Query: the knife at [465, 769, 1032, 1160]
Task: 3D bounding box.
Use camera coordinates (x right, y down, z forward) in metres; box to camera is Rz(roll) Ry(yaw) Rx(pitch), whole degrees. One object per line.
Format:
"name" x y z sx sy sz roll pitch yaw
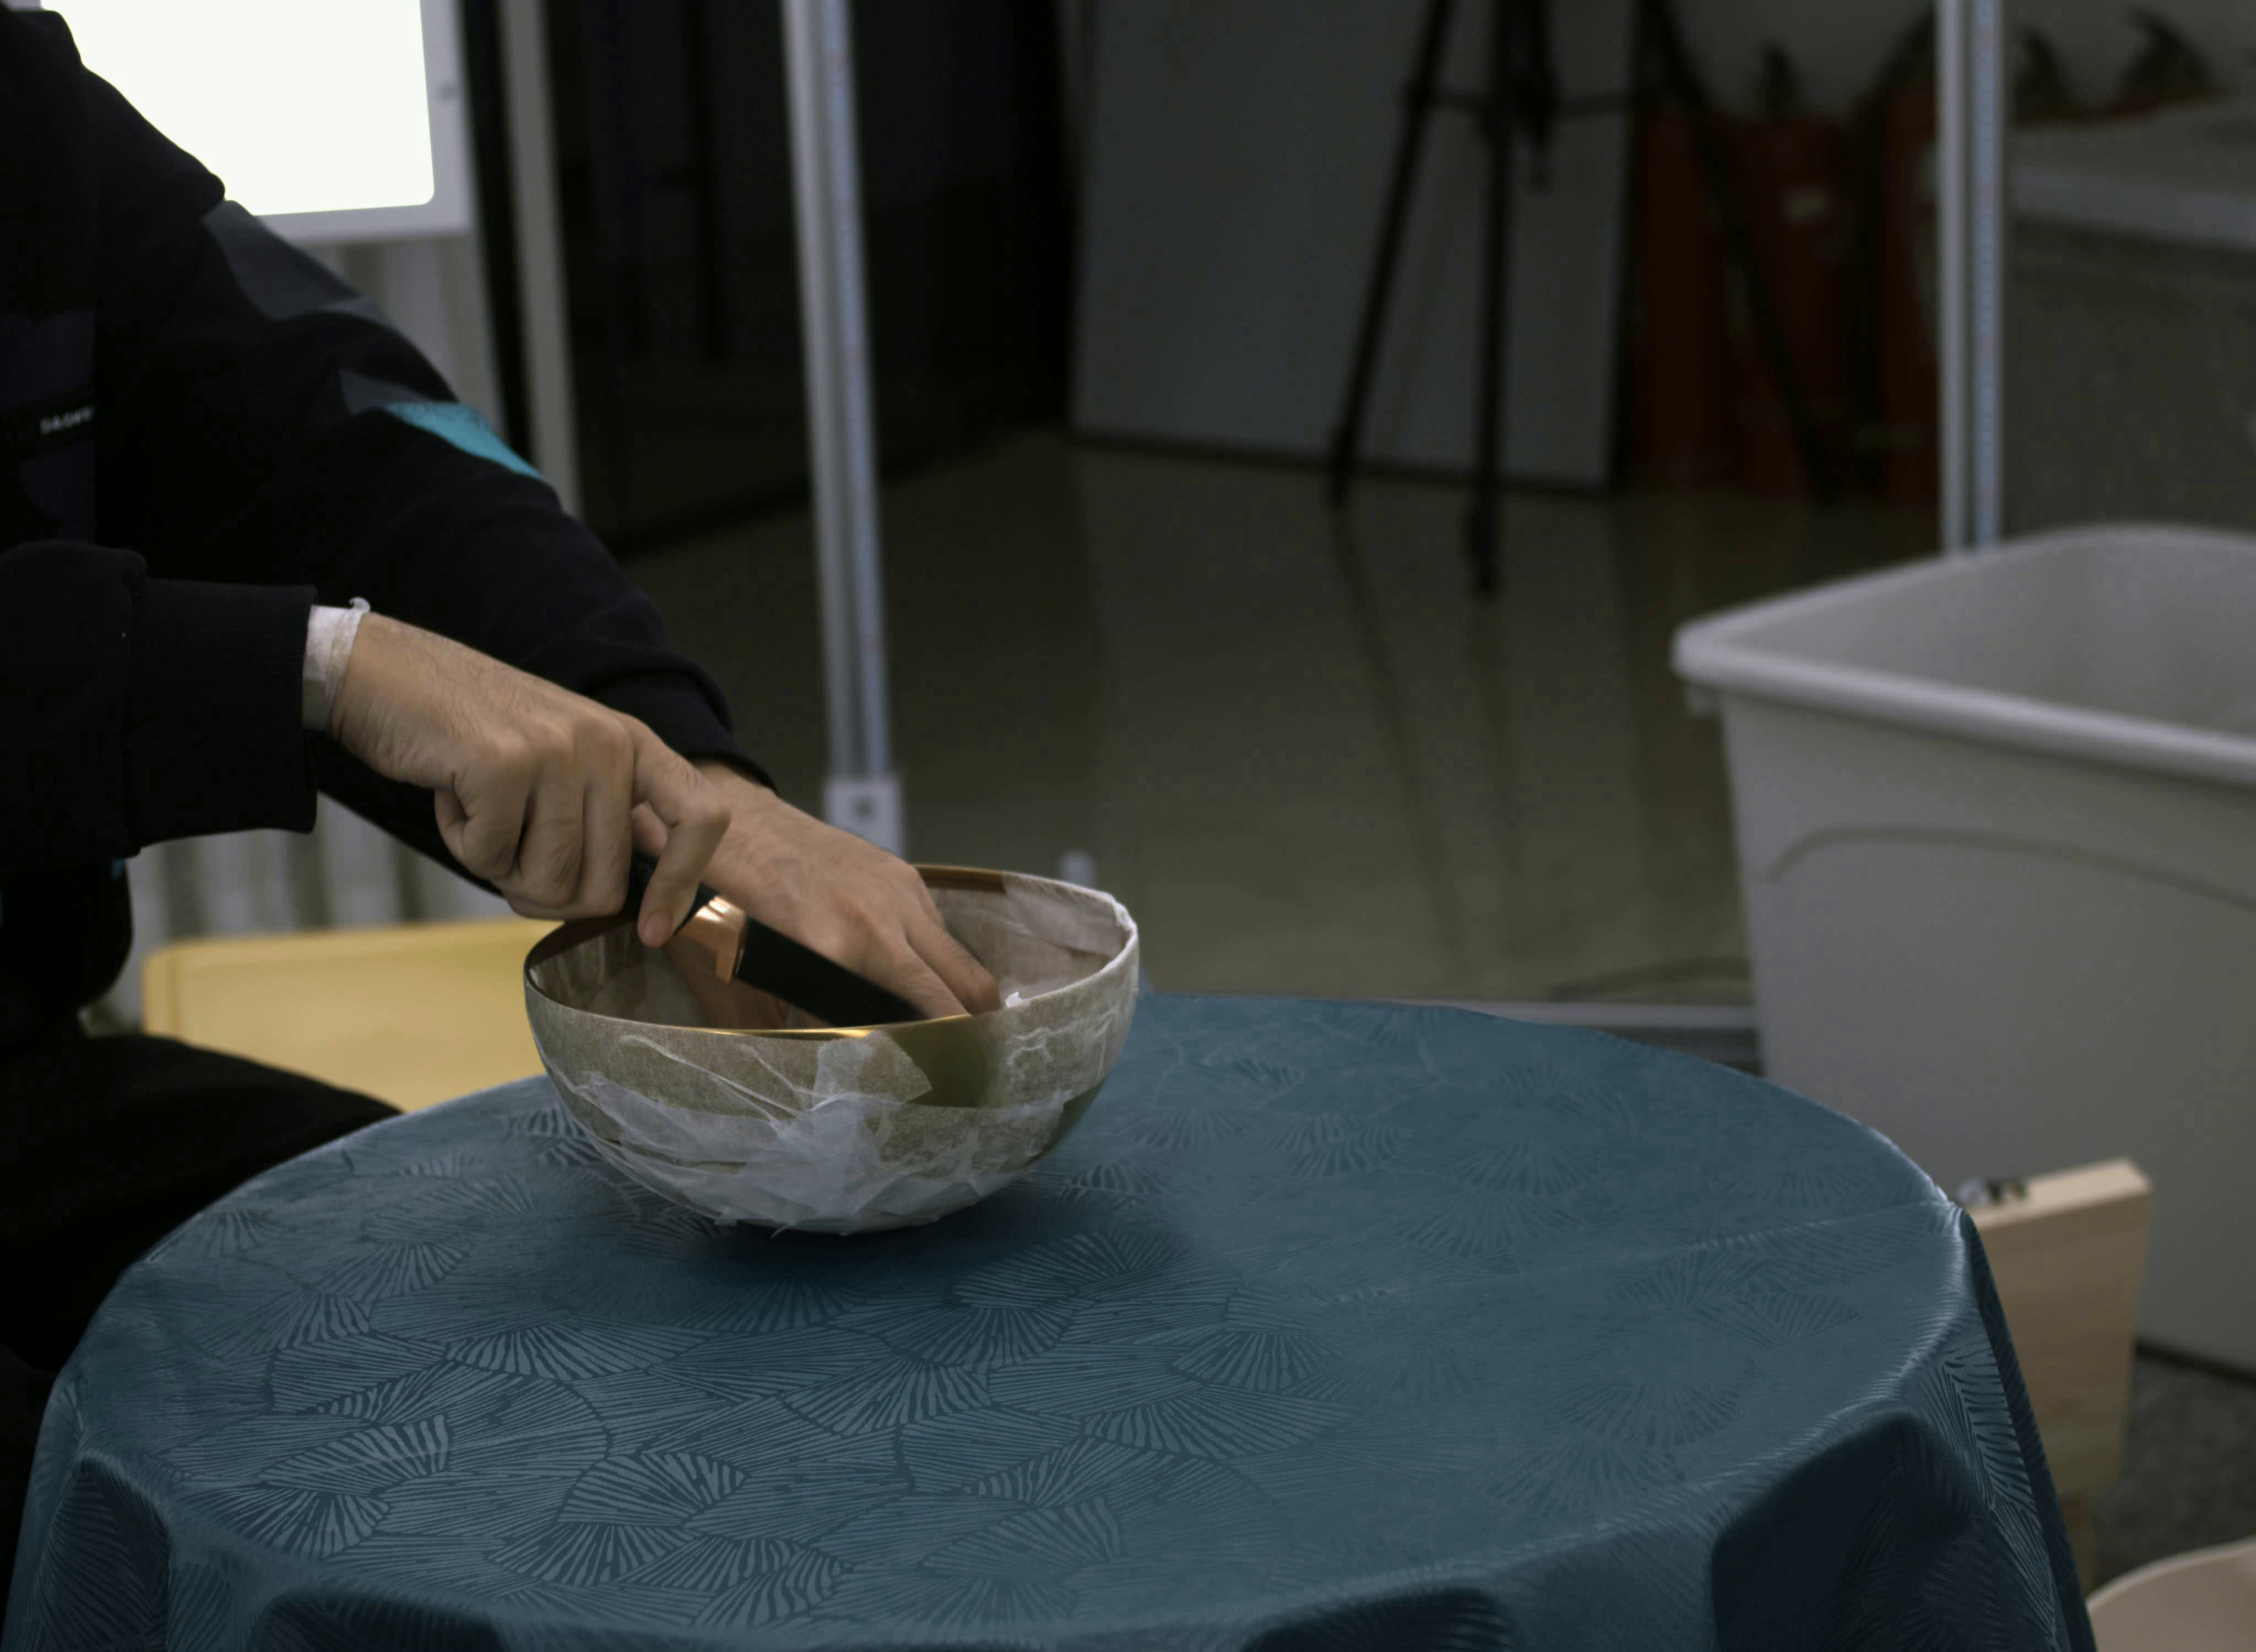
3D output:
"knife" -0.122 0.044 1.754 0.225 0.026 0.017 31 12 12

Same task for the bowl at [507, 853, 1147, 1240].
"bowl" -0.096 0.079 1.766 0.212 0.095 0.215 -4 15 0
